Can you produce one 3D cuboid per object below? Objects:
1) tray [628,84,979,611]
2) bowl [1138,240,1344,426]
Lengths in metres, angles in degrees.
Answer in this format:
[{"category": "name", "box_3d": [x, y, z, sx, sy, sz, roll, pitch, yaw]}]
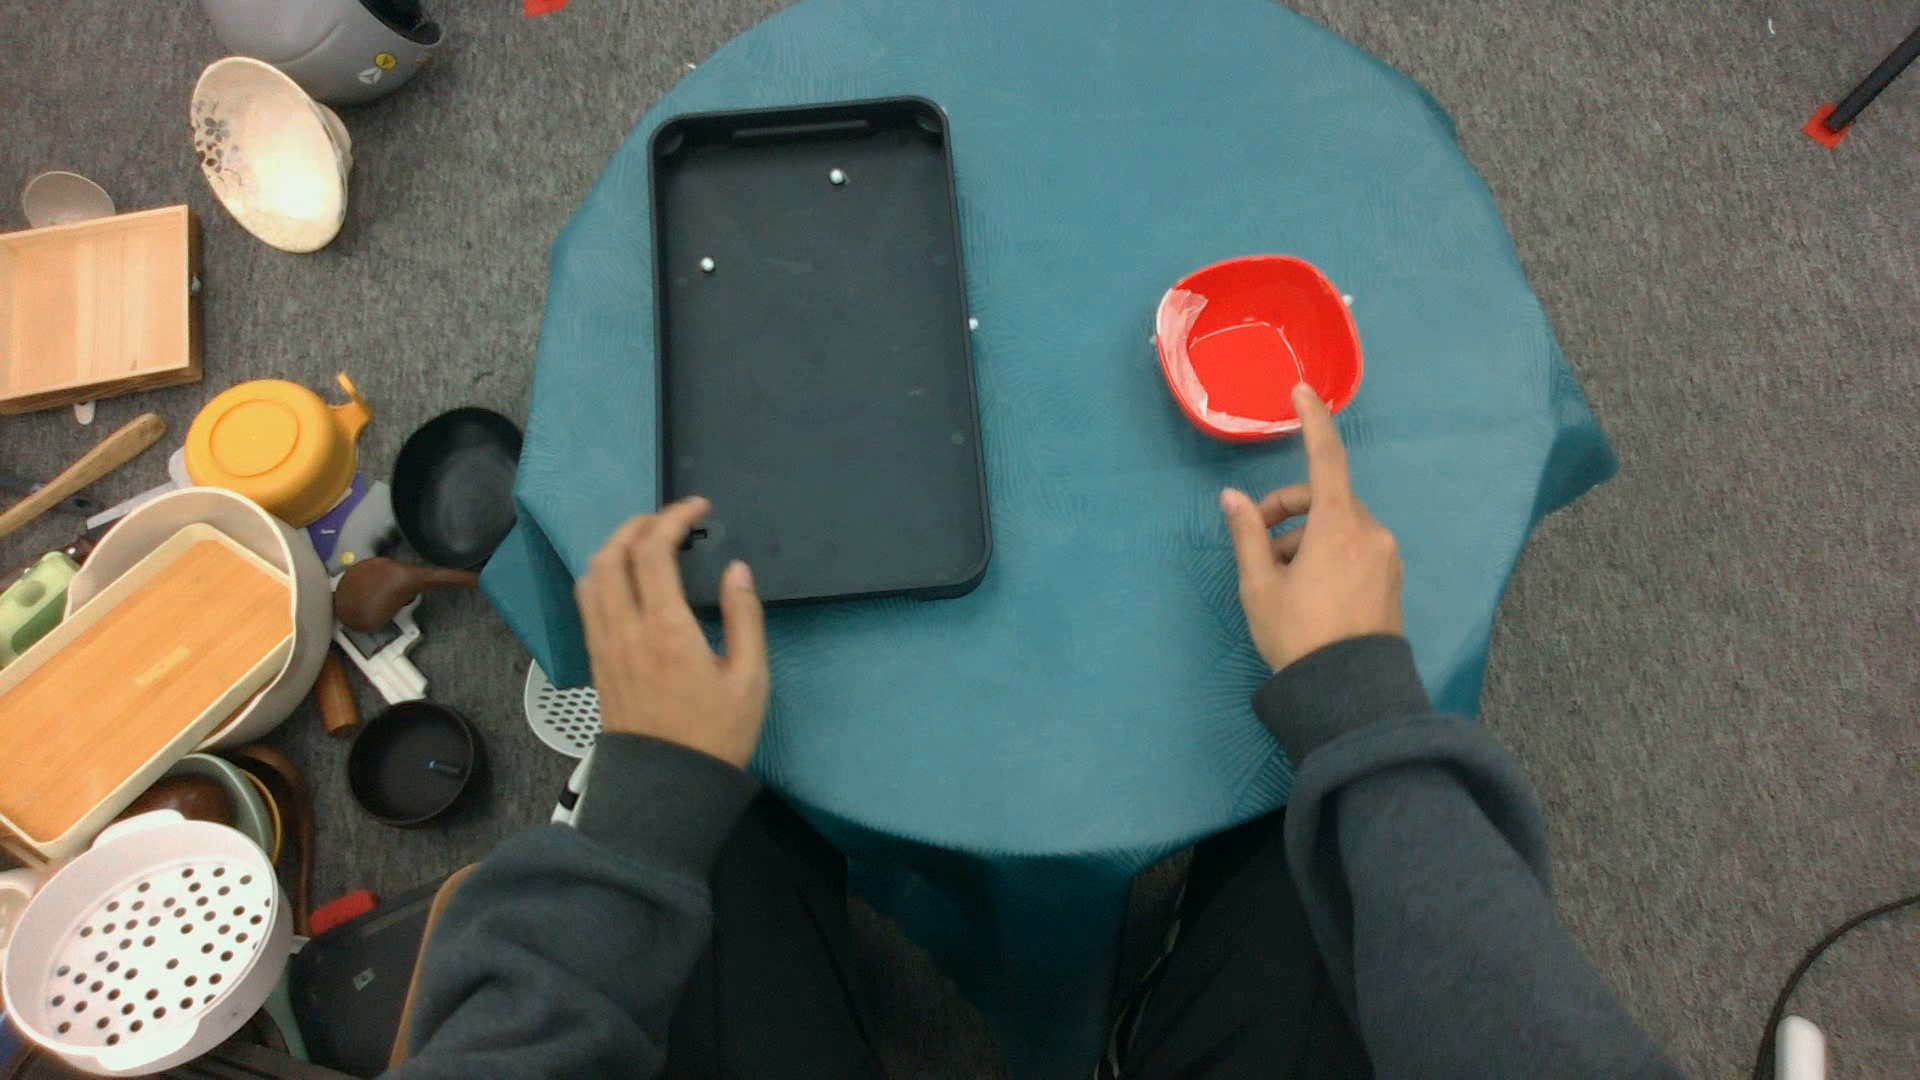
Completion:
[{"category": "tray", "box_3d": [-0.095, -0.118, 0.800, 0.184, 0.037, 0.319, -6, 70, -2]}, {"category": "bowl", "box_3d": [0.156, -0.110, 0.789, 0.119, 0.051, 0.119, 0, 69, 0]}]
